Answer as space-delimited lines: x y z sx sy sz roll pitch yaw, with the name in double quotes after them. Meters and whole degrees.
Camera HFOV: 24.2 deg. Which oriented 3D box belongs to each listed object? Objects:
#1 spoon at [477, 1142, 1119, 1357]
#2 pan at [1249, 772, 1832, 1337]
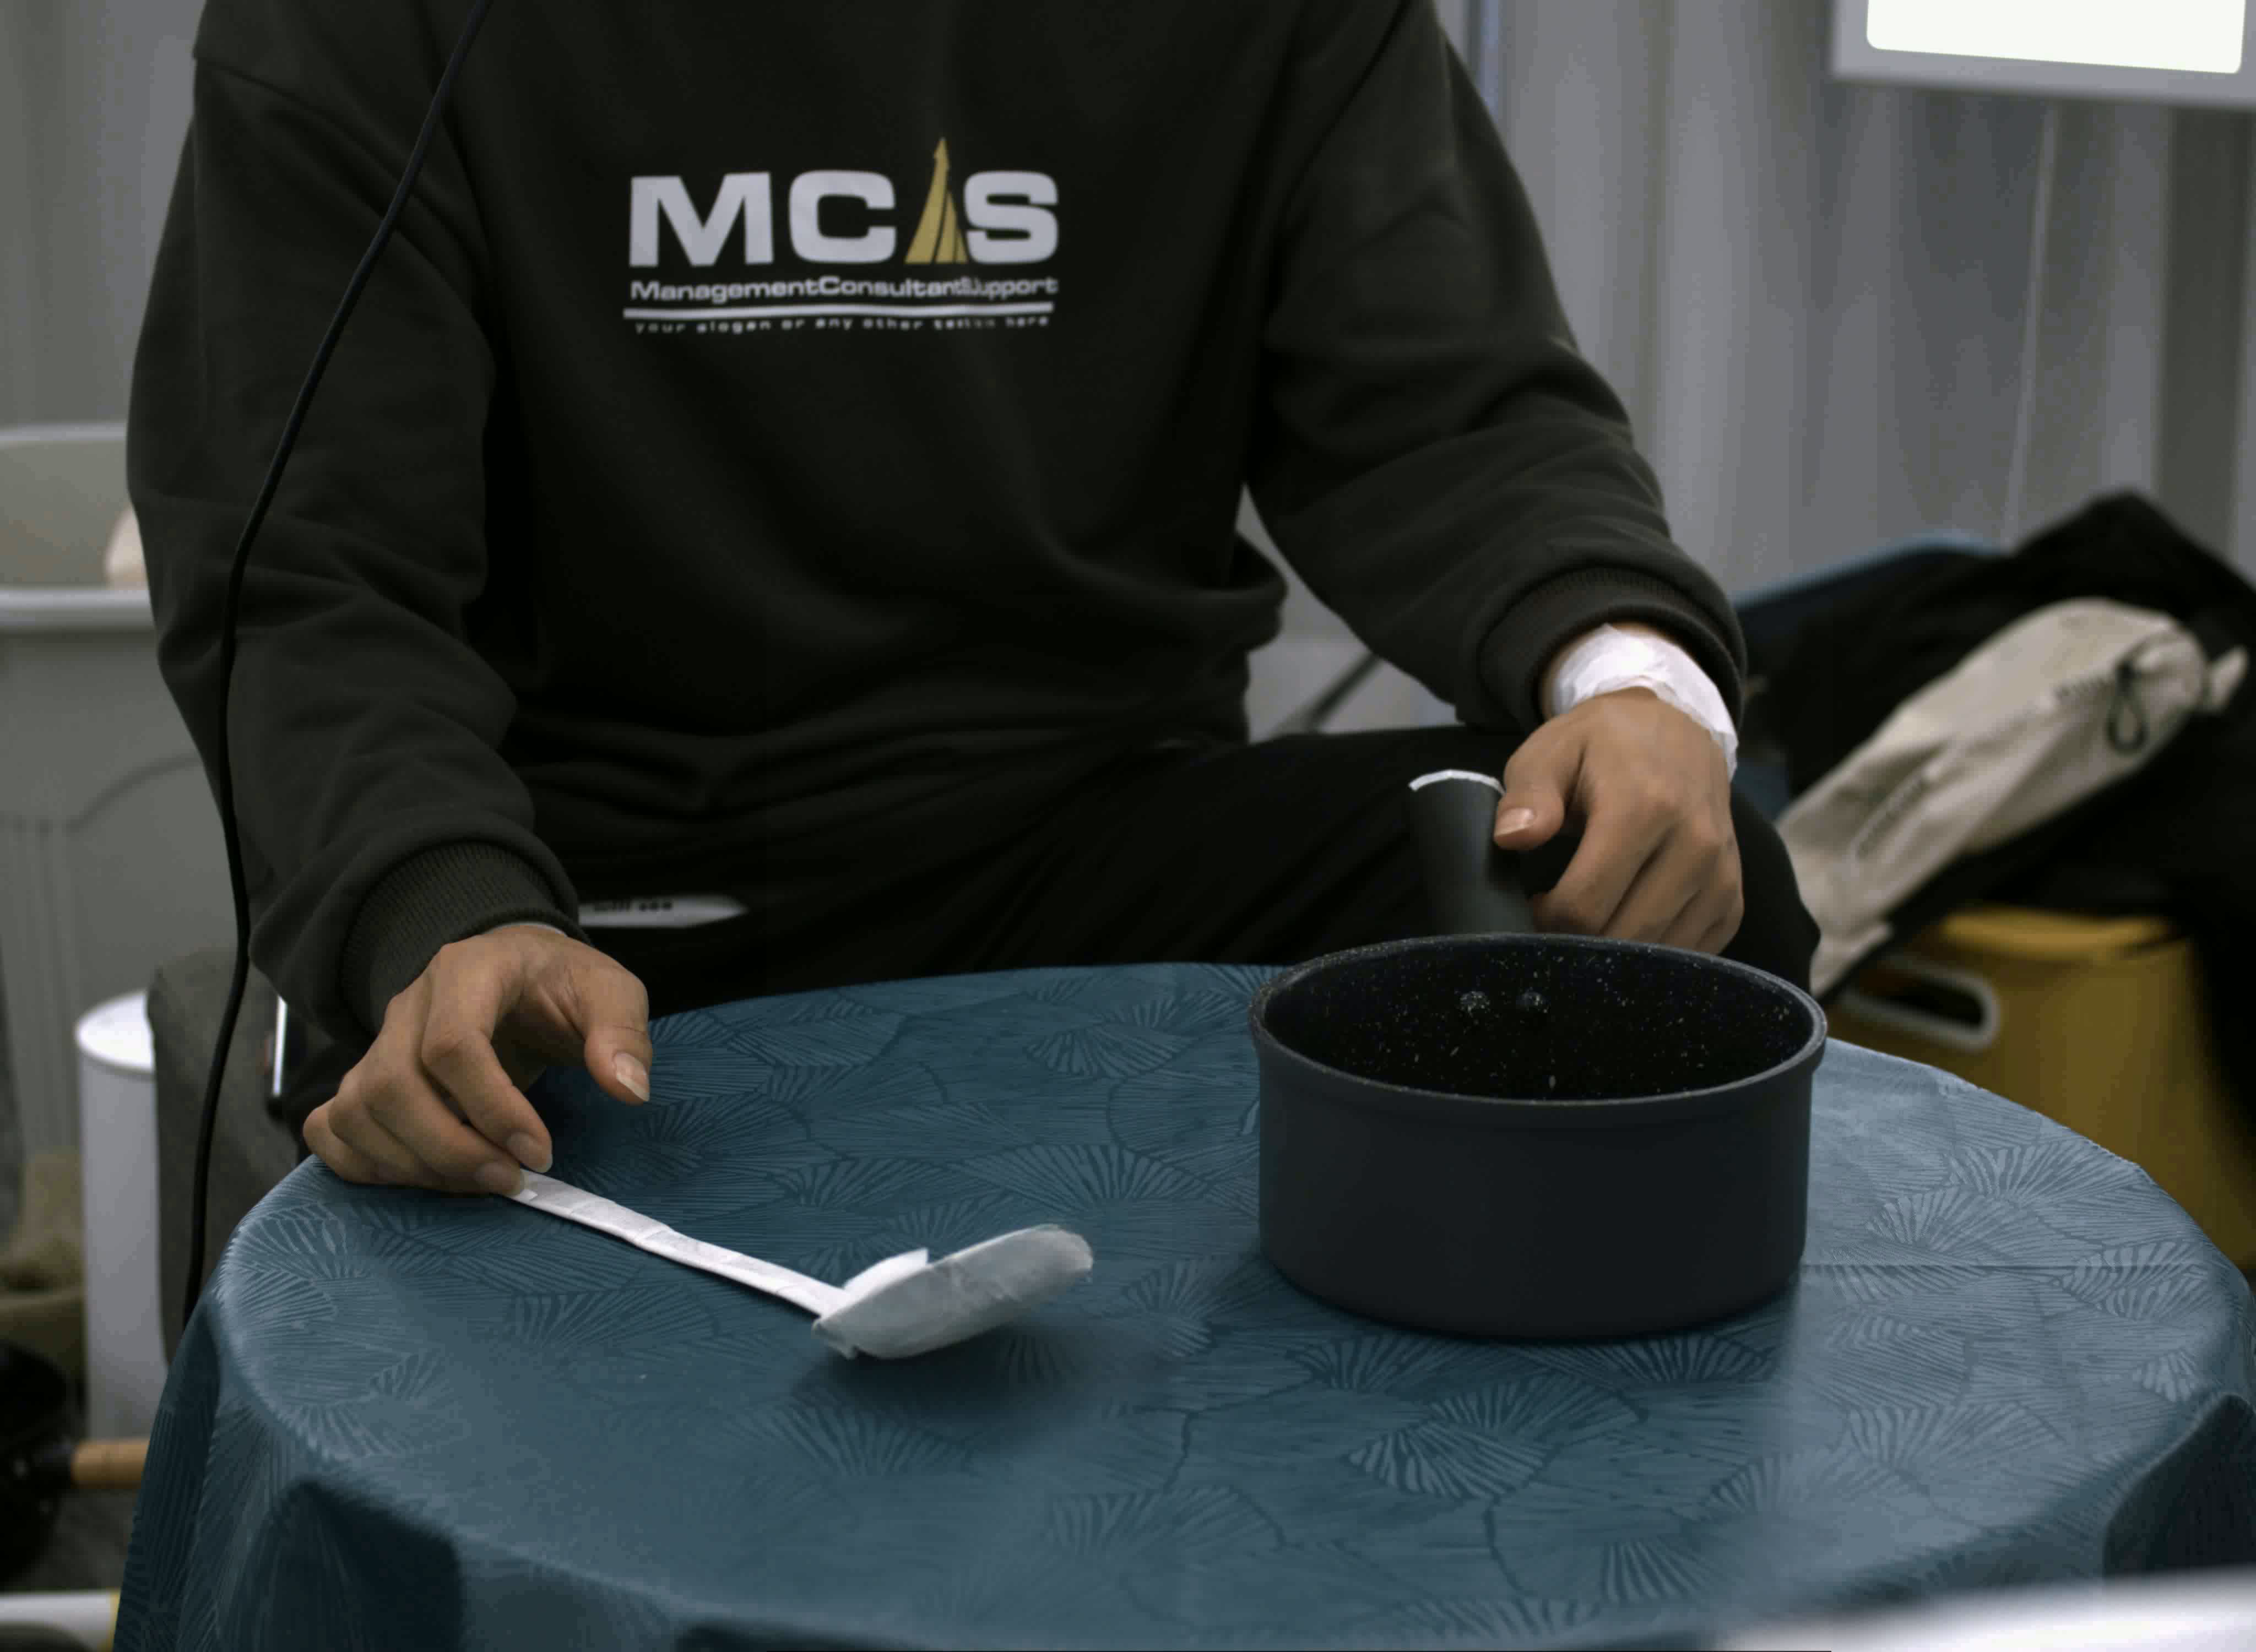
-0.107 0.104 1.543 0.101 0.060 0.273 -10 18 -39 "spoon"
0.121 0.067 1.637 0.171 0.087 0.327 2 16 0 "pan"
